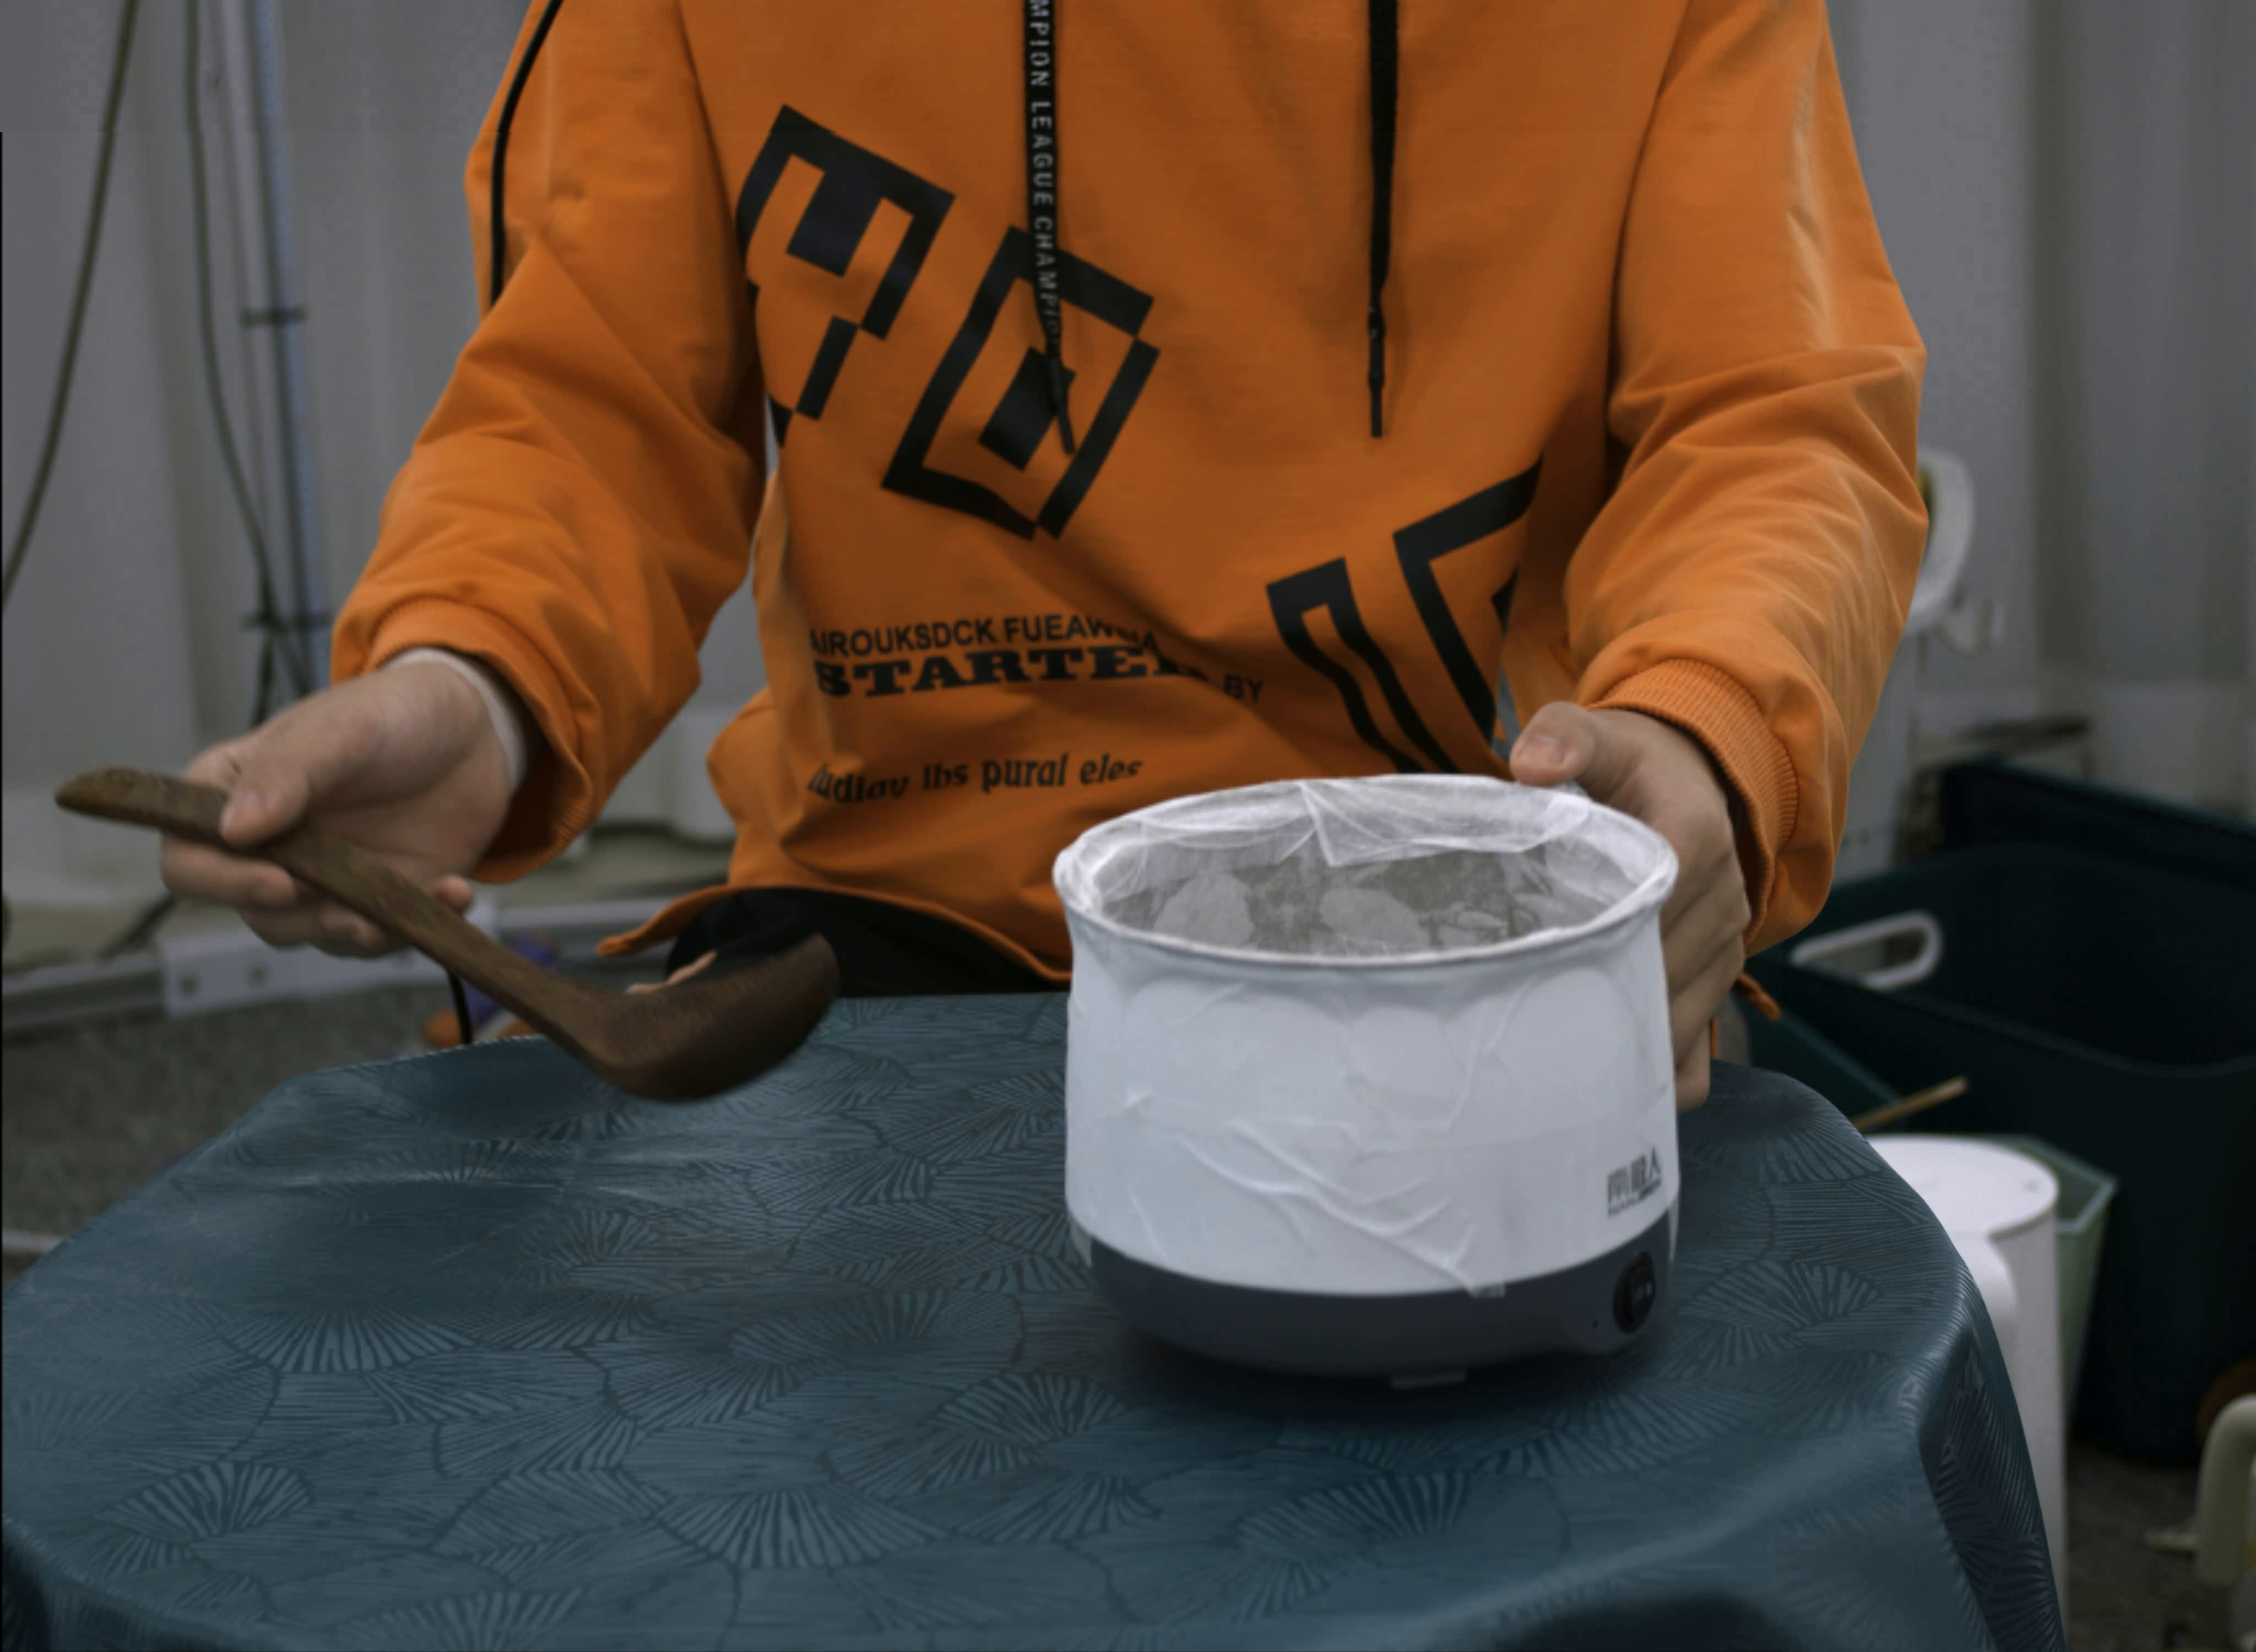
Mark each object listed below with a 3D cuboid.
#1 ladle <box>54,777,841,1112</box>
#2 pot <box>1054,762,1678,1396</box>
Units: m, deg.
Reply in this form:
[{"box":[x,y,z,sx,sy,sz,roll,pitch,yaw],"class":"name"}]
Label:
[{"box":[-0.210,0.016,1.660,0.275,0.071,0.076,25,29,22],"class":"ladle"},{"box":[0.083,0.065,1.583,0.179,0.136,0.234,9,20,32],"class":"pot"}]
